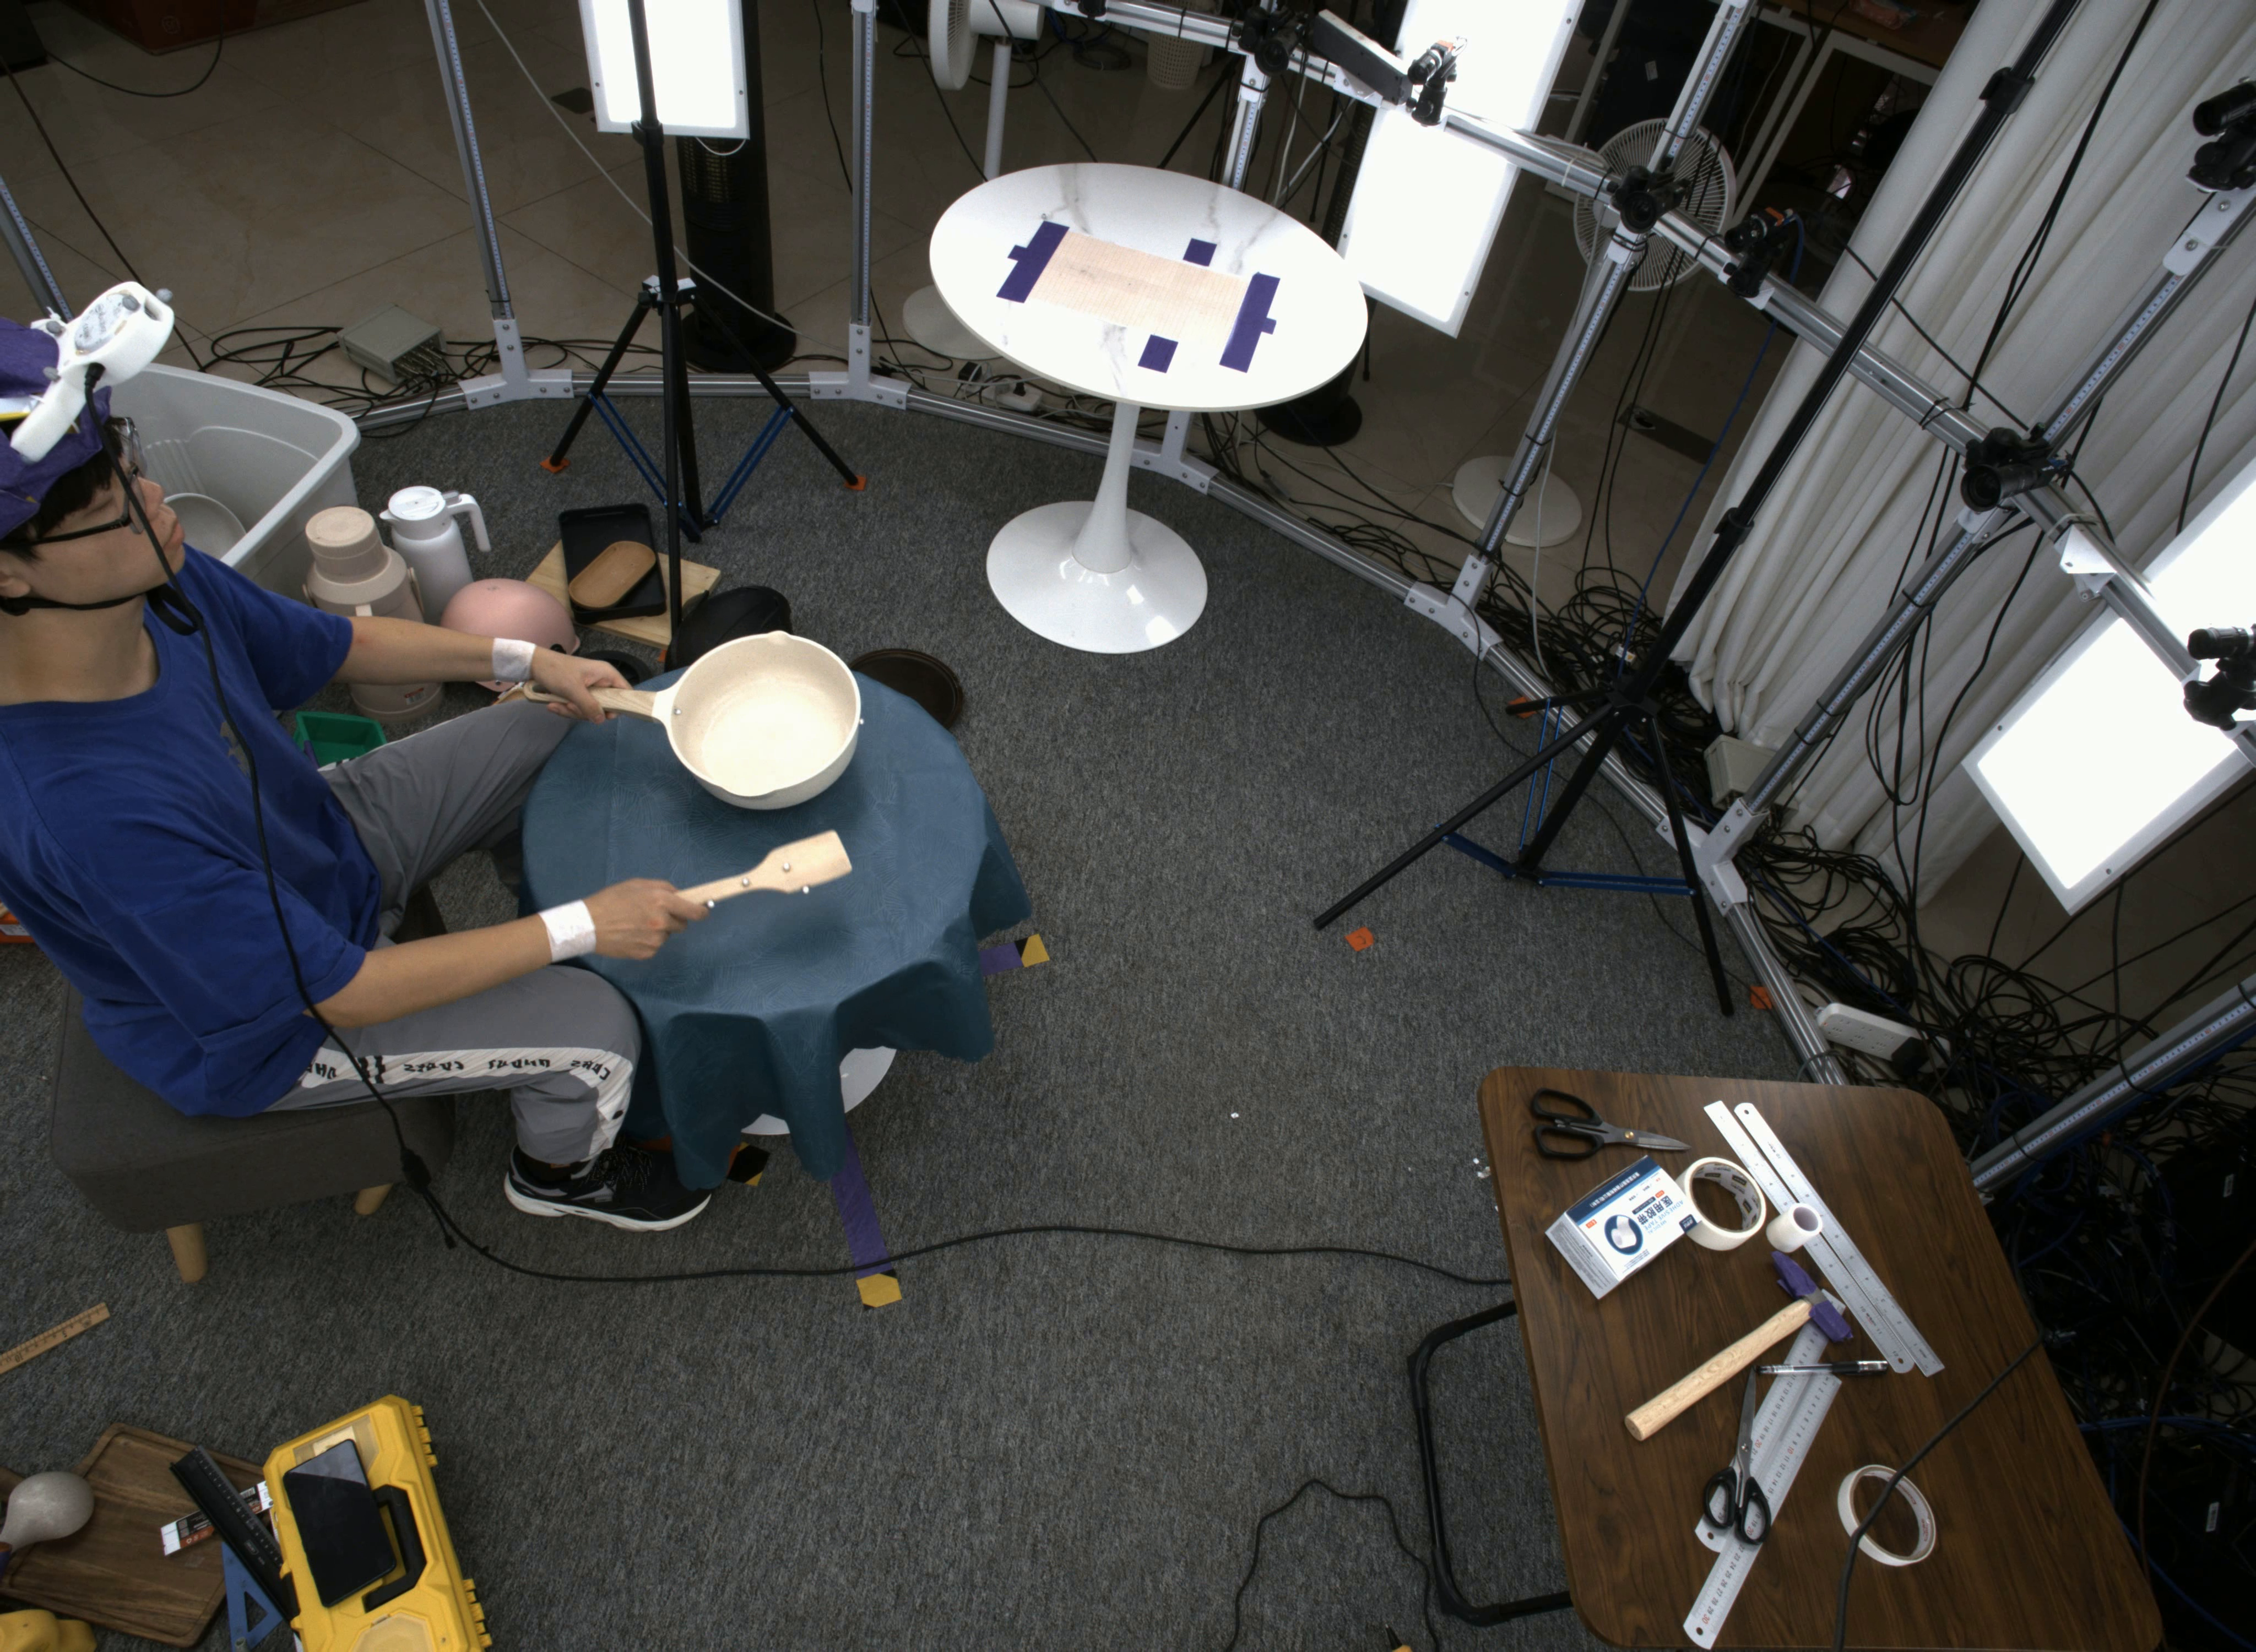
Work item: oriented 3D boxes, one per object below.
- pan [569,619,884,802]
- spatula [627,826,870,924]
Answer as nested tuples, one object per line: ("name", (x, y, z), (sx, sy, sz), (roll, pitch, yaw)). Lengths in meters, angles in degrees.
("pan", (-0.539, -0.152, 1.723), (0.431, 0.104, 0.260), (3, 63, -4))
("spatula", (-0.458, 0.065, 1.557), (0.294, 0.011, 0.070), (-17, 57, -22))
